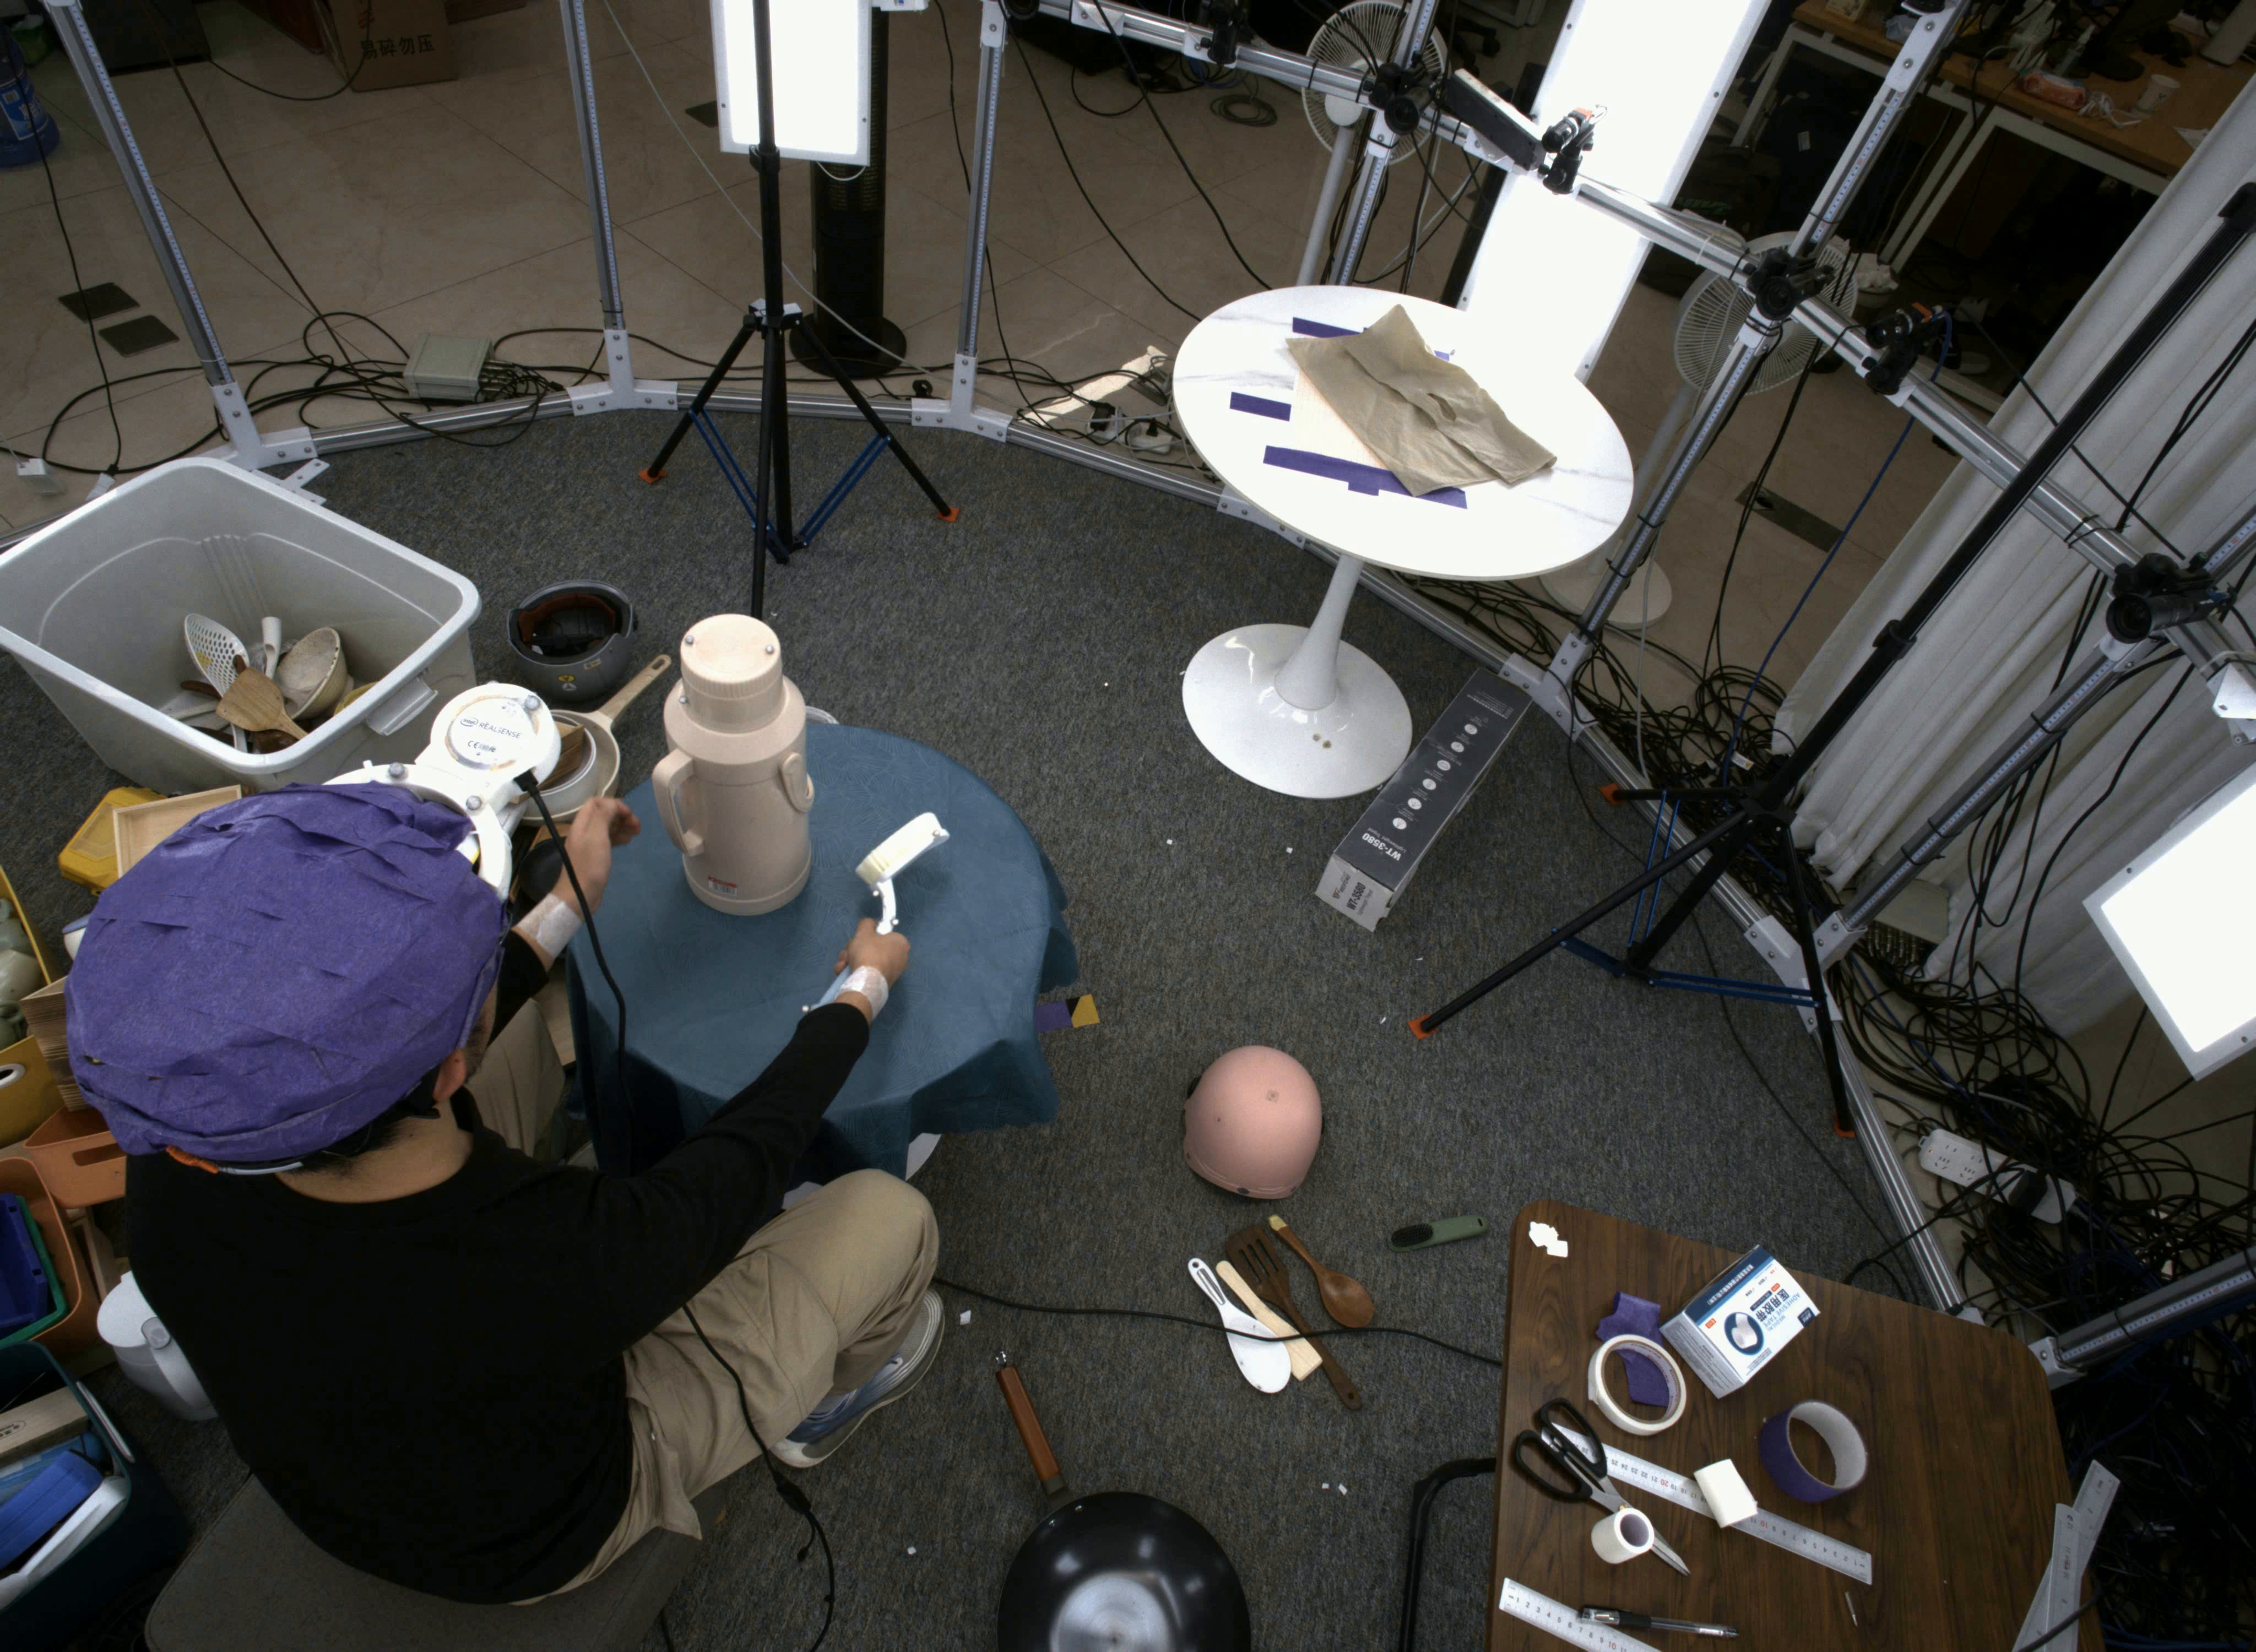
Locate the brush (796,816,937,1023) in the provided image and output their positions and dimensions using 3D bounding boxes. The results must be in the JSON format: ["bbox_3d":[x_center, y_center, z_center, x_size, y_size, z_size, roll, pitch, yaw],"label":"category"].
[{"bbox_3d":[-0.335,0.094,1.578,0.082,0.086,0.323,14,48,17],"label":"brush"}]

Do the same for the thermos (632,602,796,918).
[{"bbox_3d":[-0.484,-0.065,1.494,0.172,0.414,0.206,32,52,12],"label":"thermos"}]
